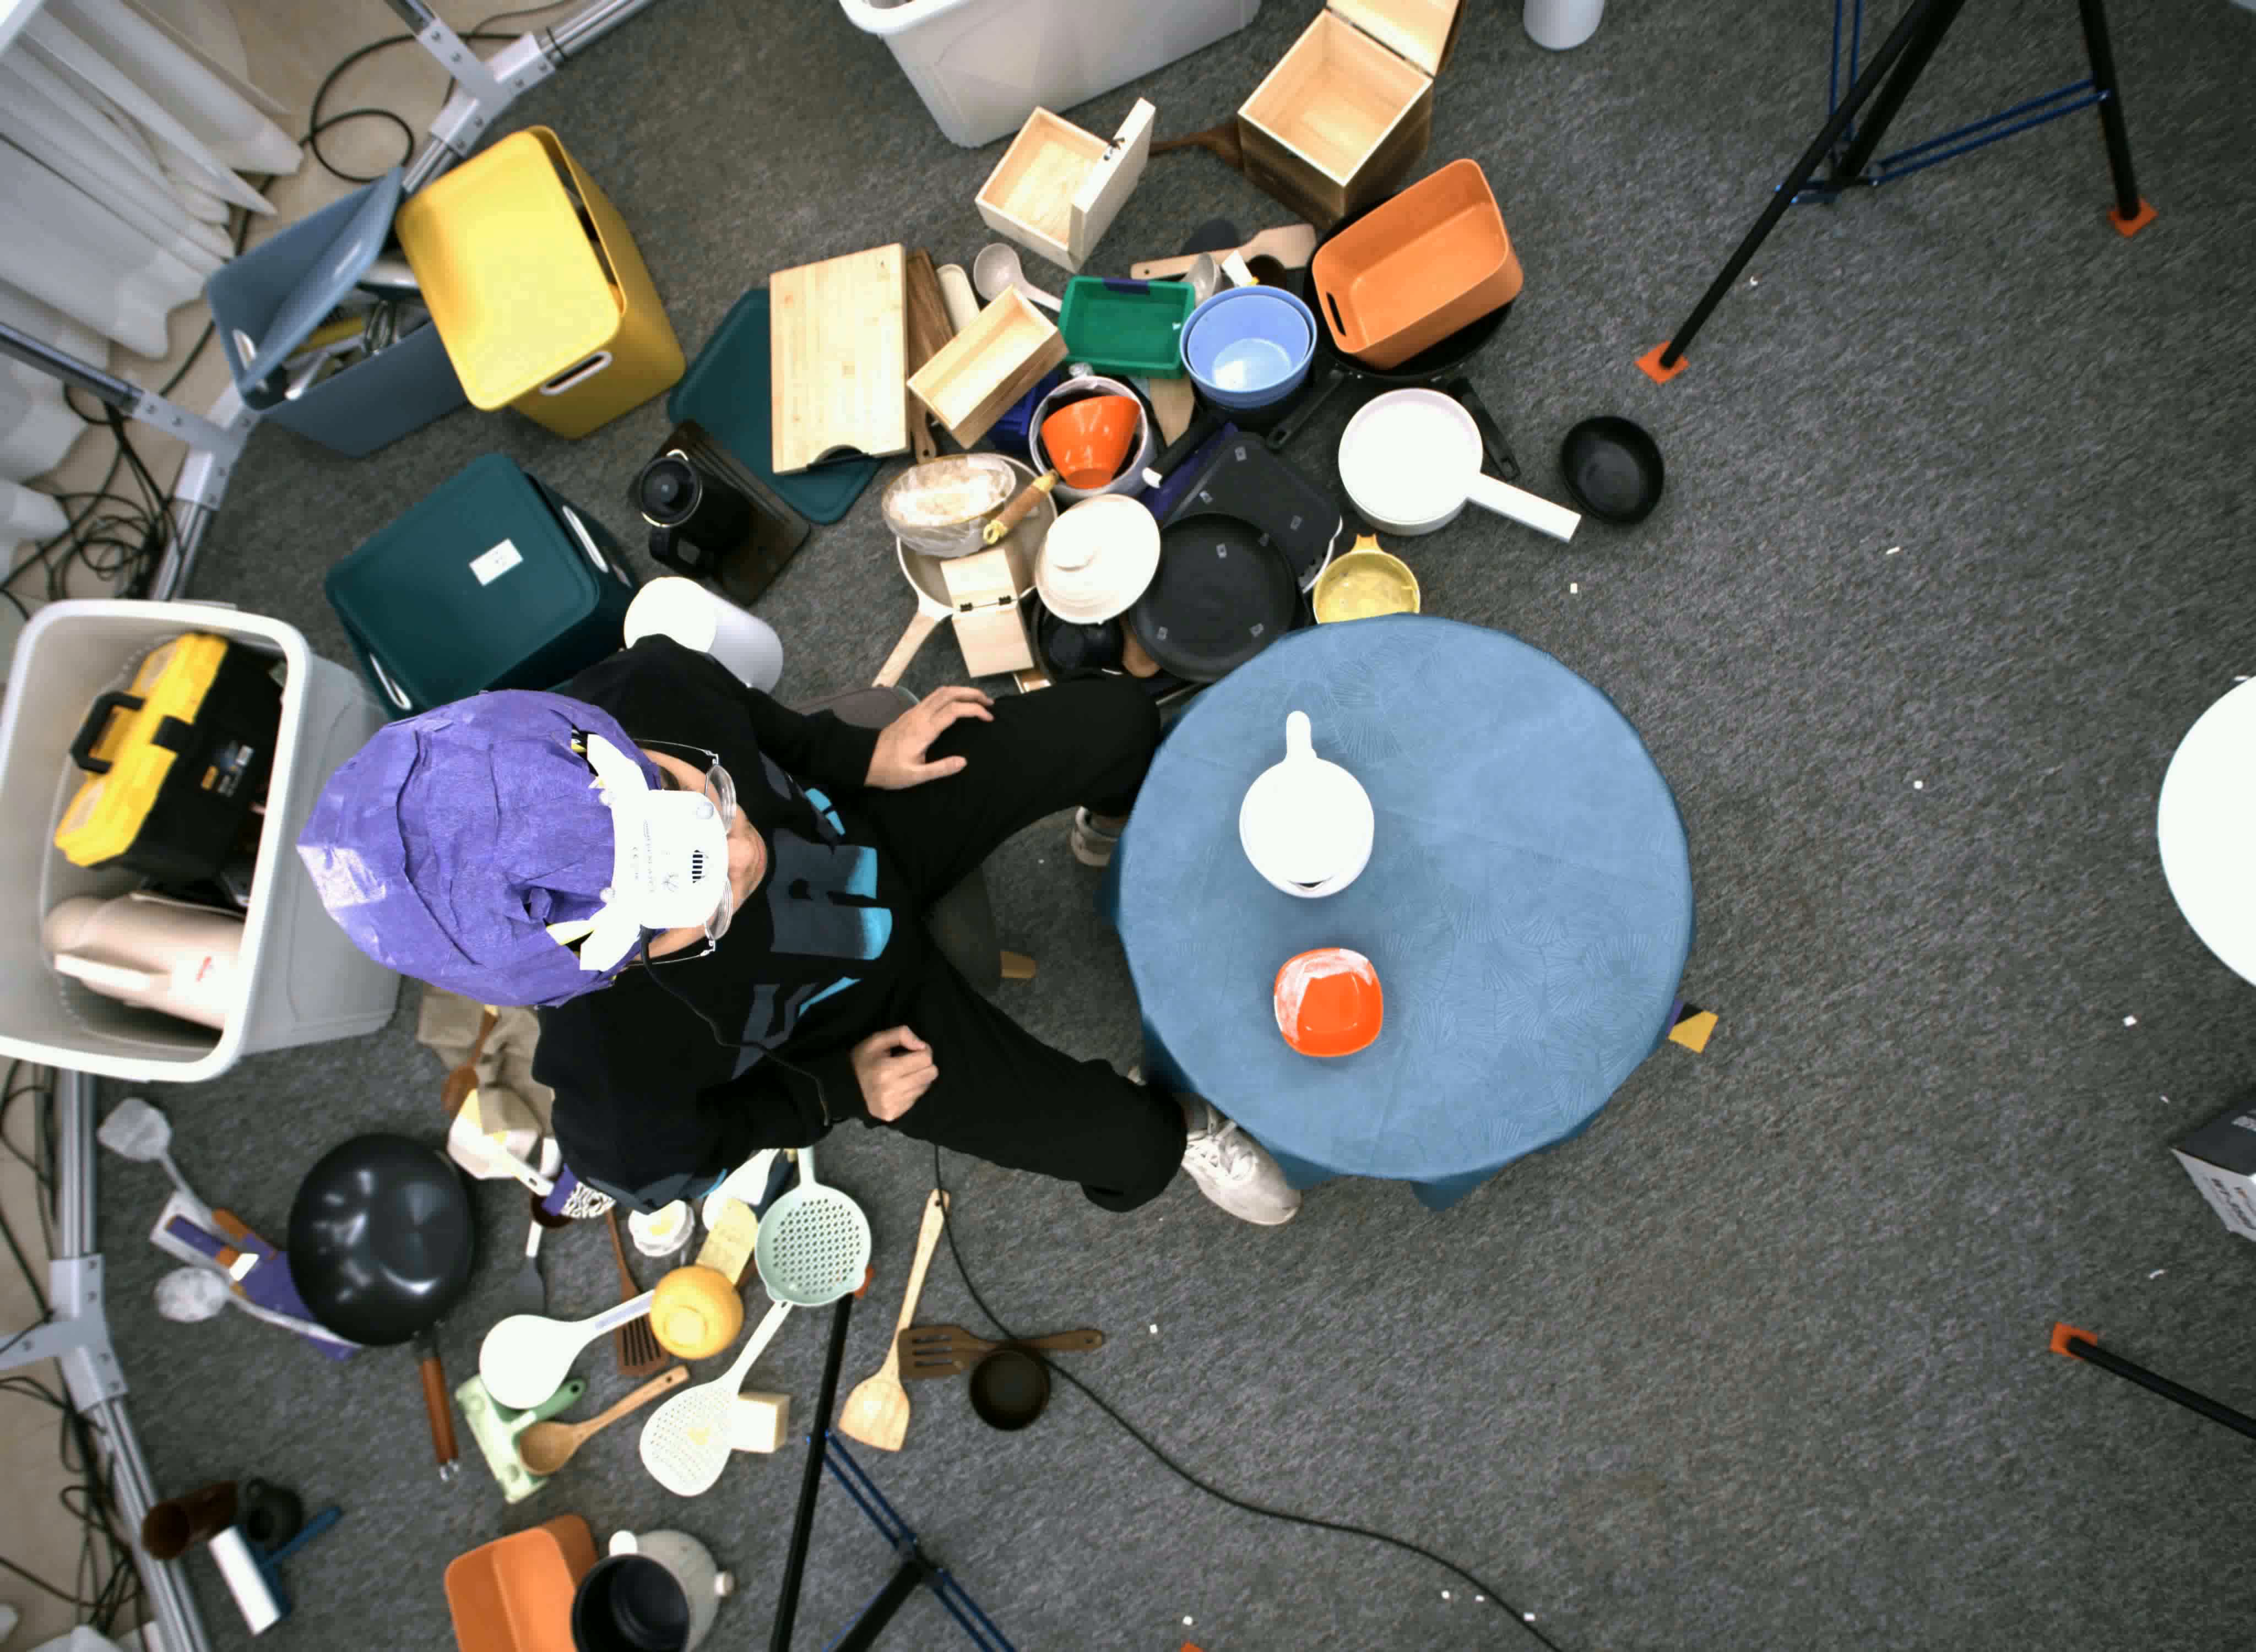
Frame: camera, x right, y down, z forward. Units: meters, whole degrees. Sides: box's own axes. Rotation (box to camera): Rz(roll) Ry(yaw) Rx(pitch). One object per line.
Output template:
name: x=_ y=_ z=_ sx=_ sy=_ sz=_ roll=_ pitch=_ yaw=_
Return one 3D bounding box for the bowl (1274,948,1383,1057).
bowl: x=0.207 y=0.180 z=1.434 sx=0.119 sy=0.051 sz=0.118 roll=0 pitch=88 yaw=8

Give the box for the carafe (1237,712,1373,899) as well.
carafe: x=0.176 y=-0.021 z=1.391 sx=0.133 sy=0.183 sz=0.189 roll=-7 pitch=82 yaw=8
